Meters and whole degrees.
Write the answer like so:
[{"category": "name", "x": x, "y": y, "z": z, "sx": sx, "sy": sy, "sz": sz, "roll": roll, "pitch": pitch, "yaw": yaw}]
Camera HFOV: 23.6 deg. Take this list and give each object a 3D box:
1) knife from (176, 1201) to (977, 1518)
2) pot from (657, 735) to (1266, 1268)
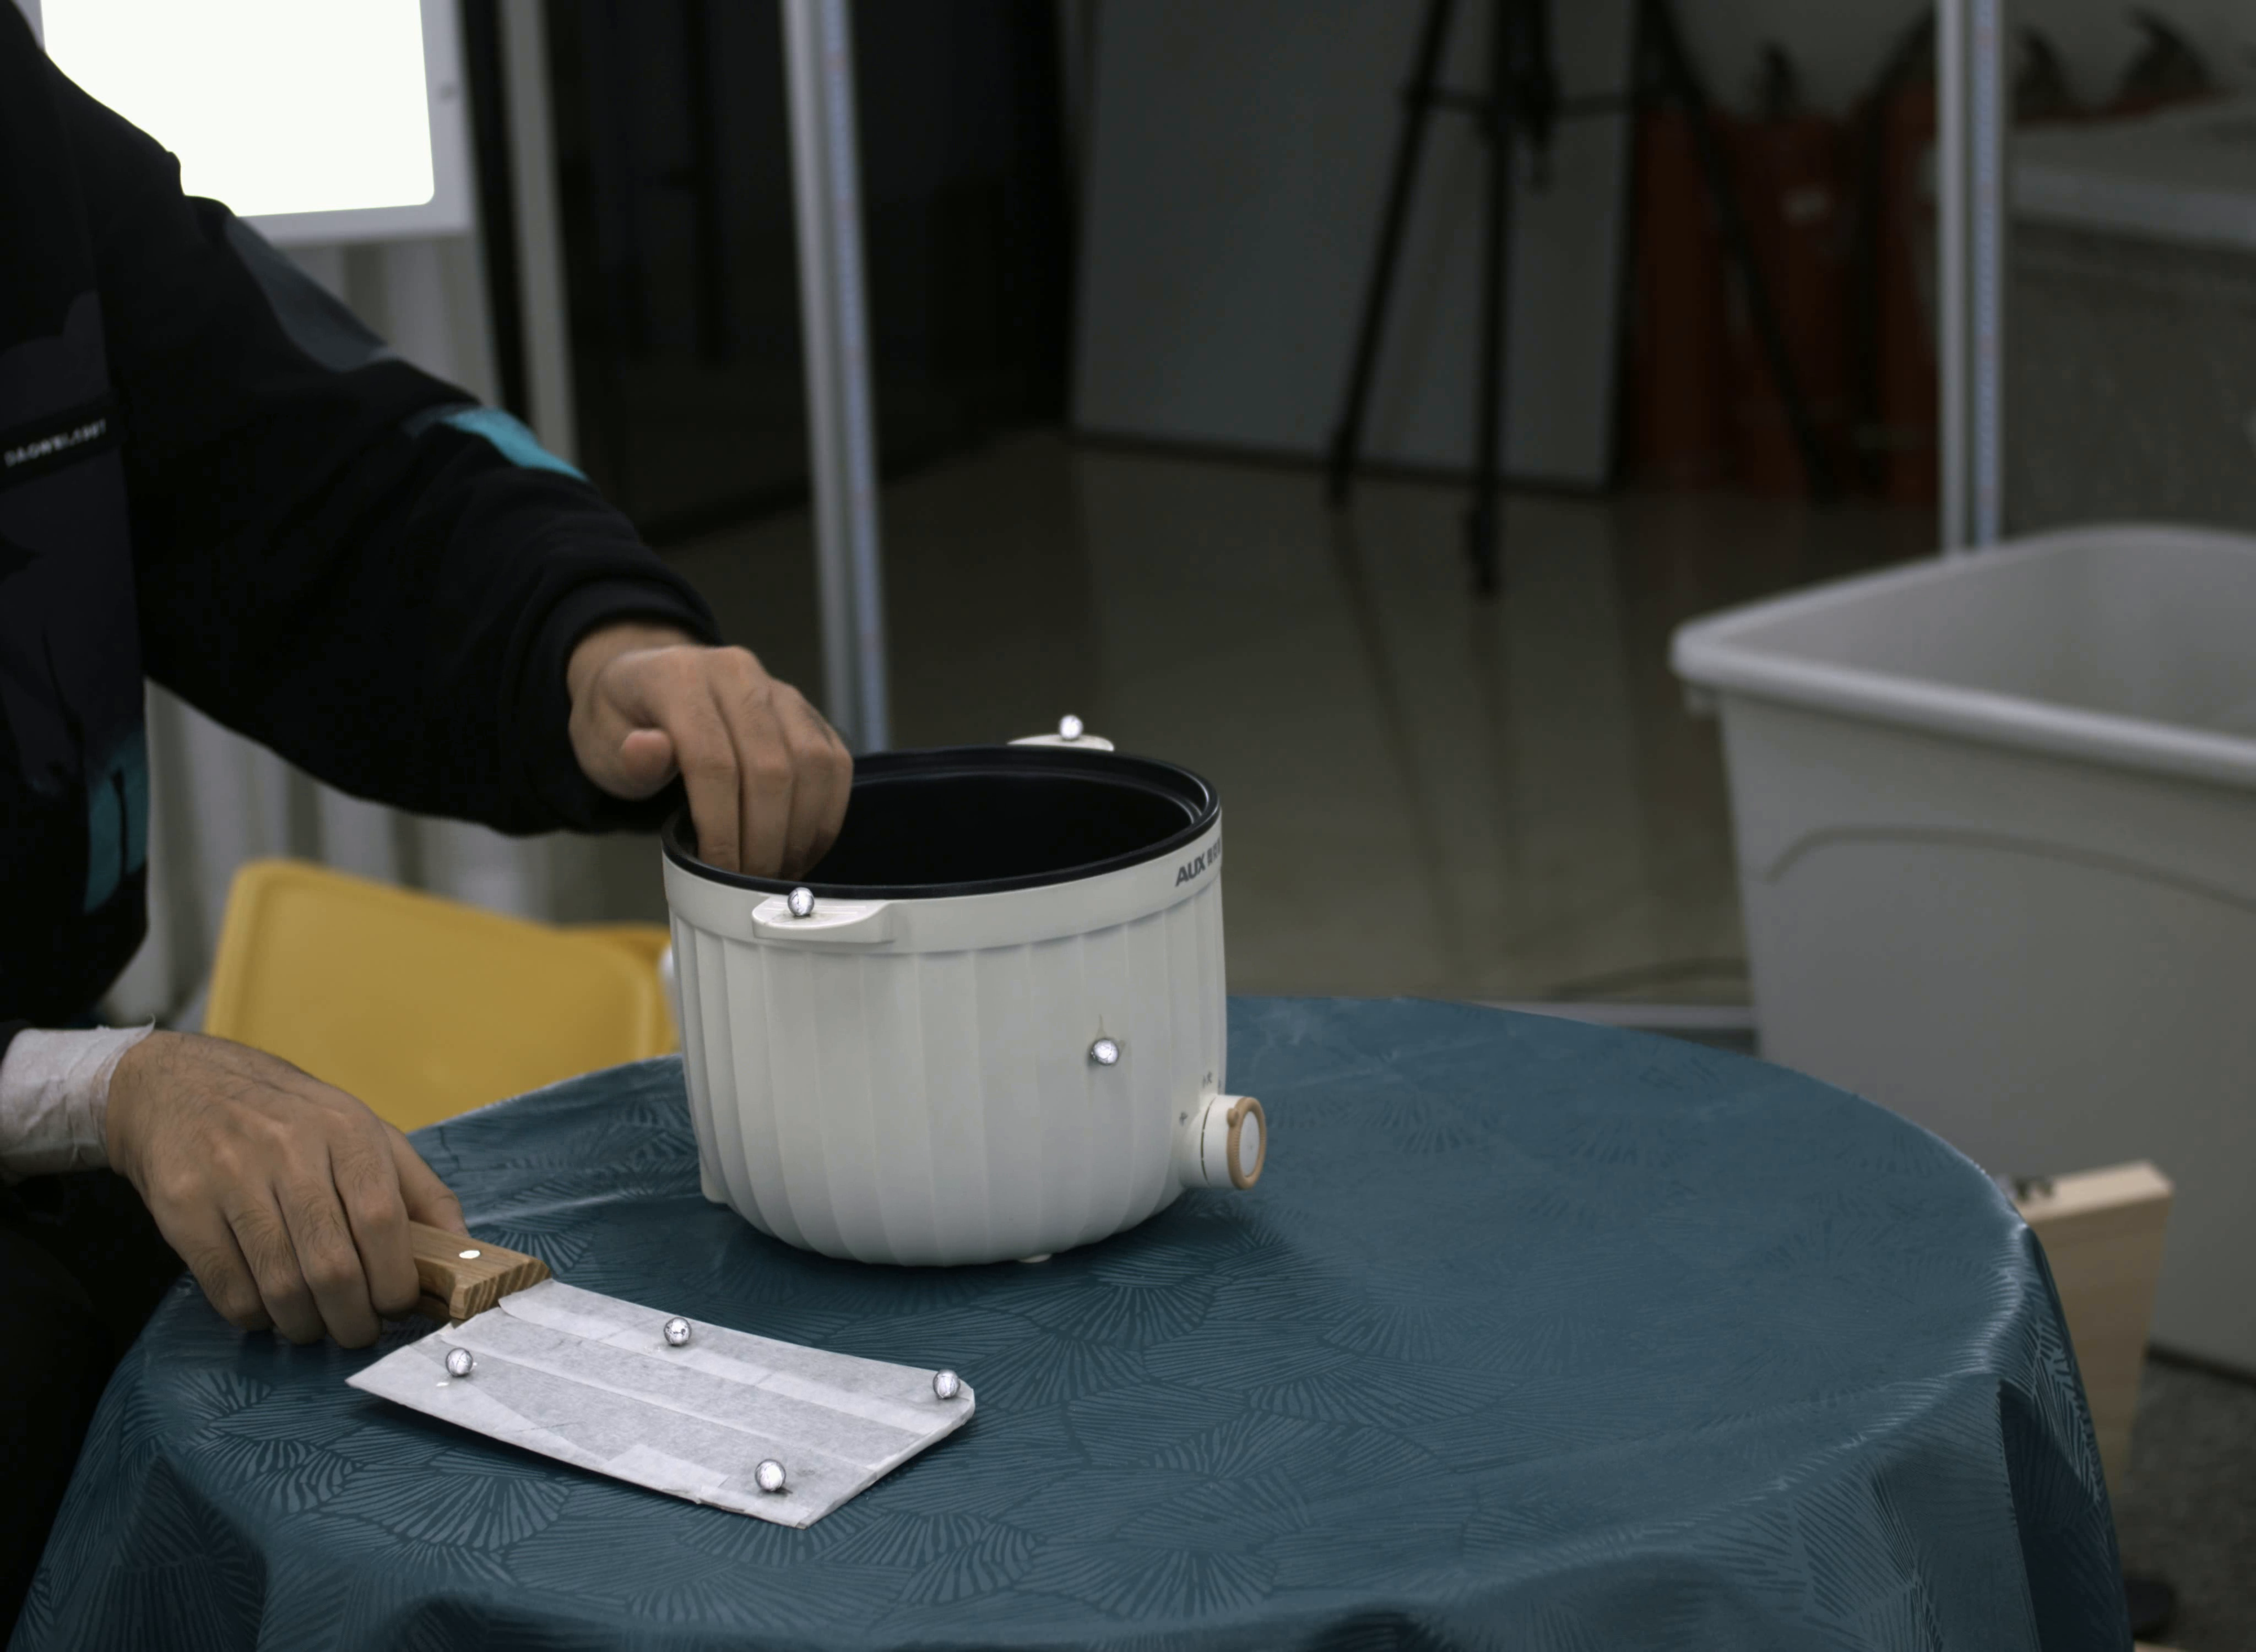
[{"category": "knife", "x": -0.177, "y": 0.157, "z": 1.631, "sx": 0.318, "sy": 0.022, "sz": 0.112, "roll": 12, "pitch": 25, "yaw": 42}, {"category": "pot", "x": -0.052, "y": 0.059, "z": 1.745, "sx": 0.190, "sy": 0.144, "sz": 0.238, "roll": -2, "pitch": 15, "yaw": 22}]
